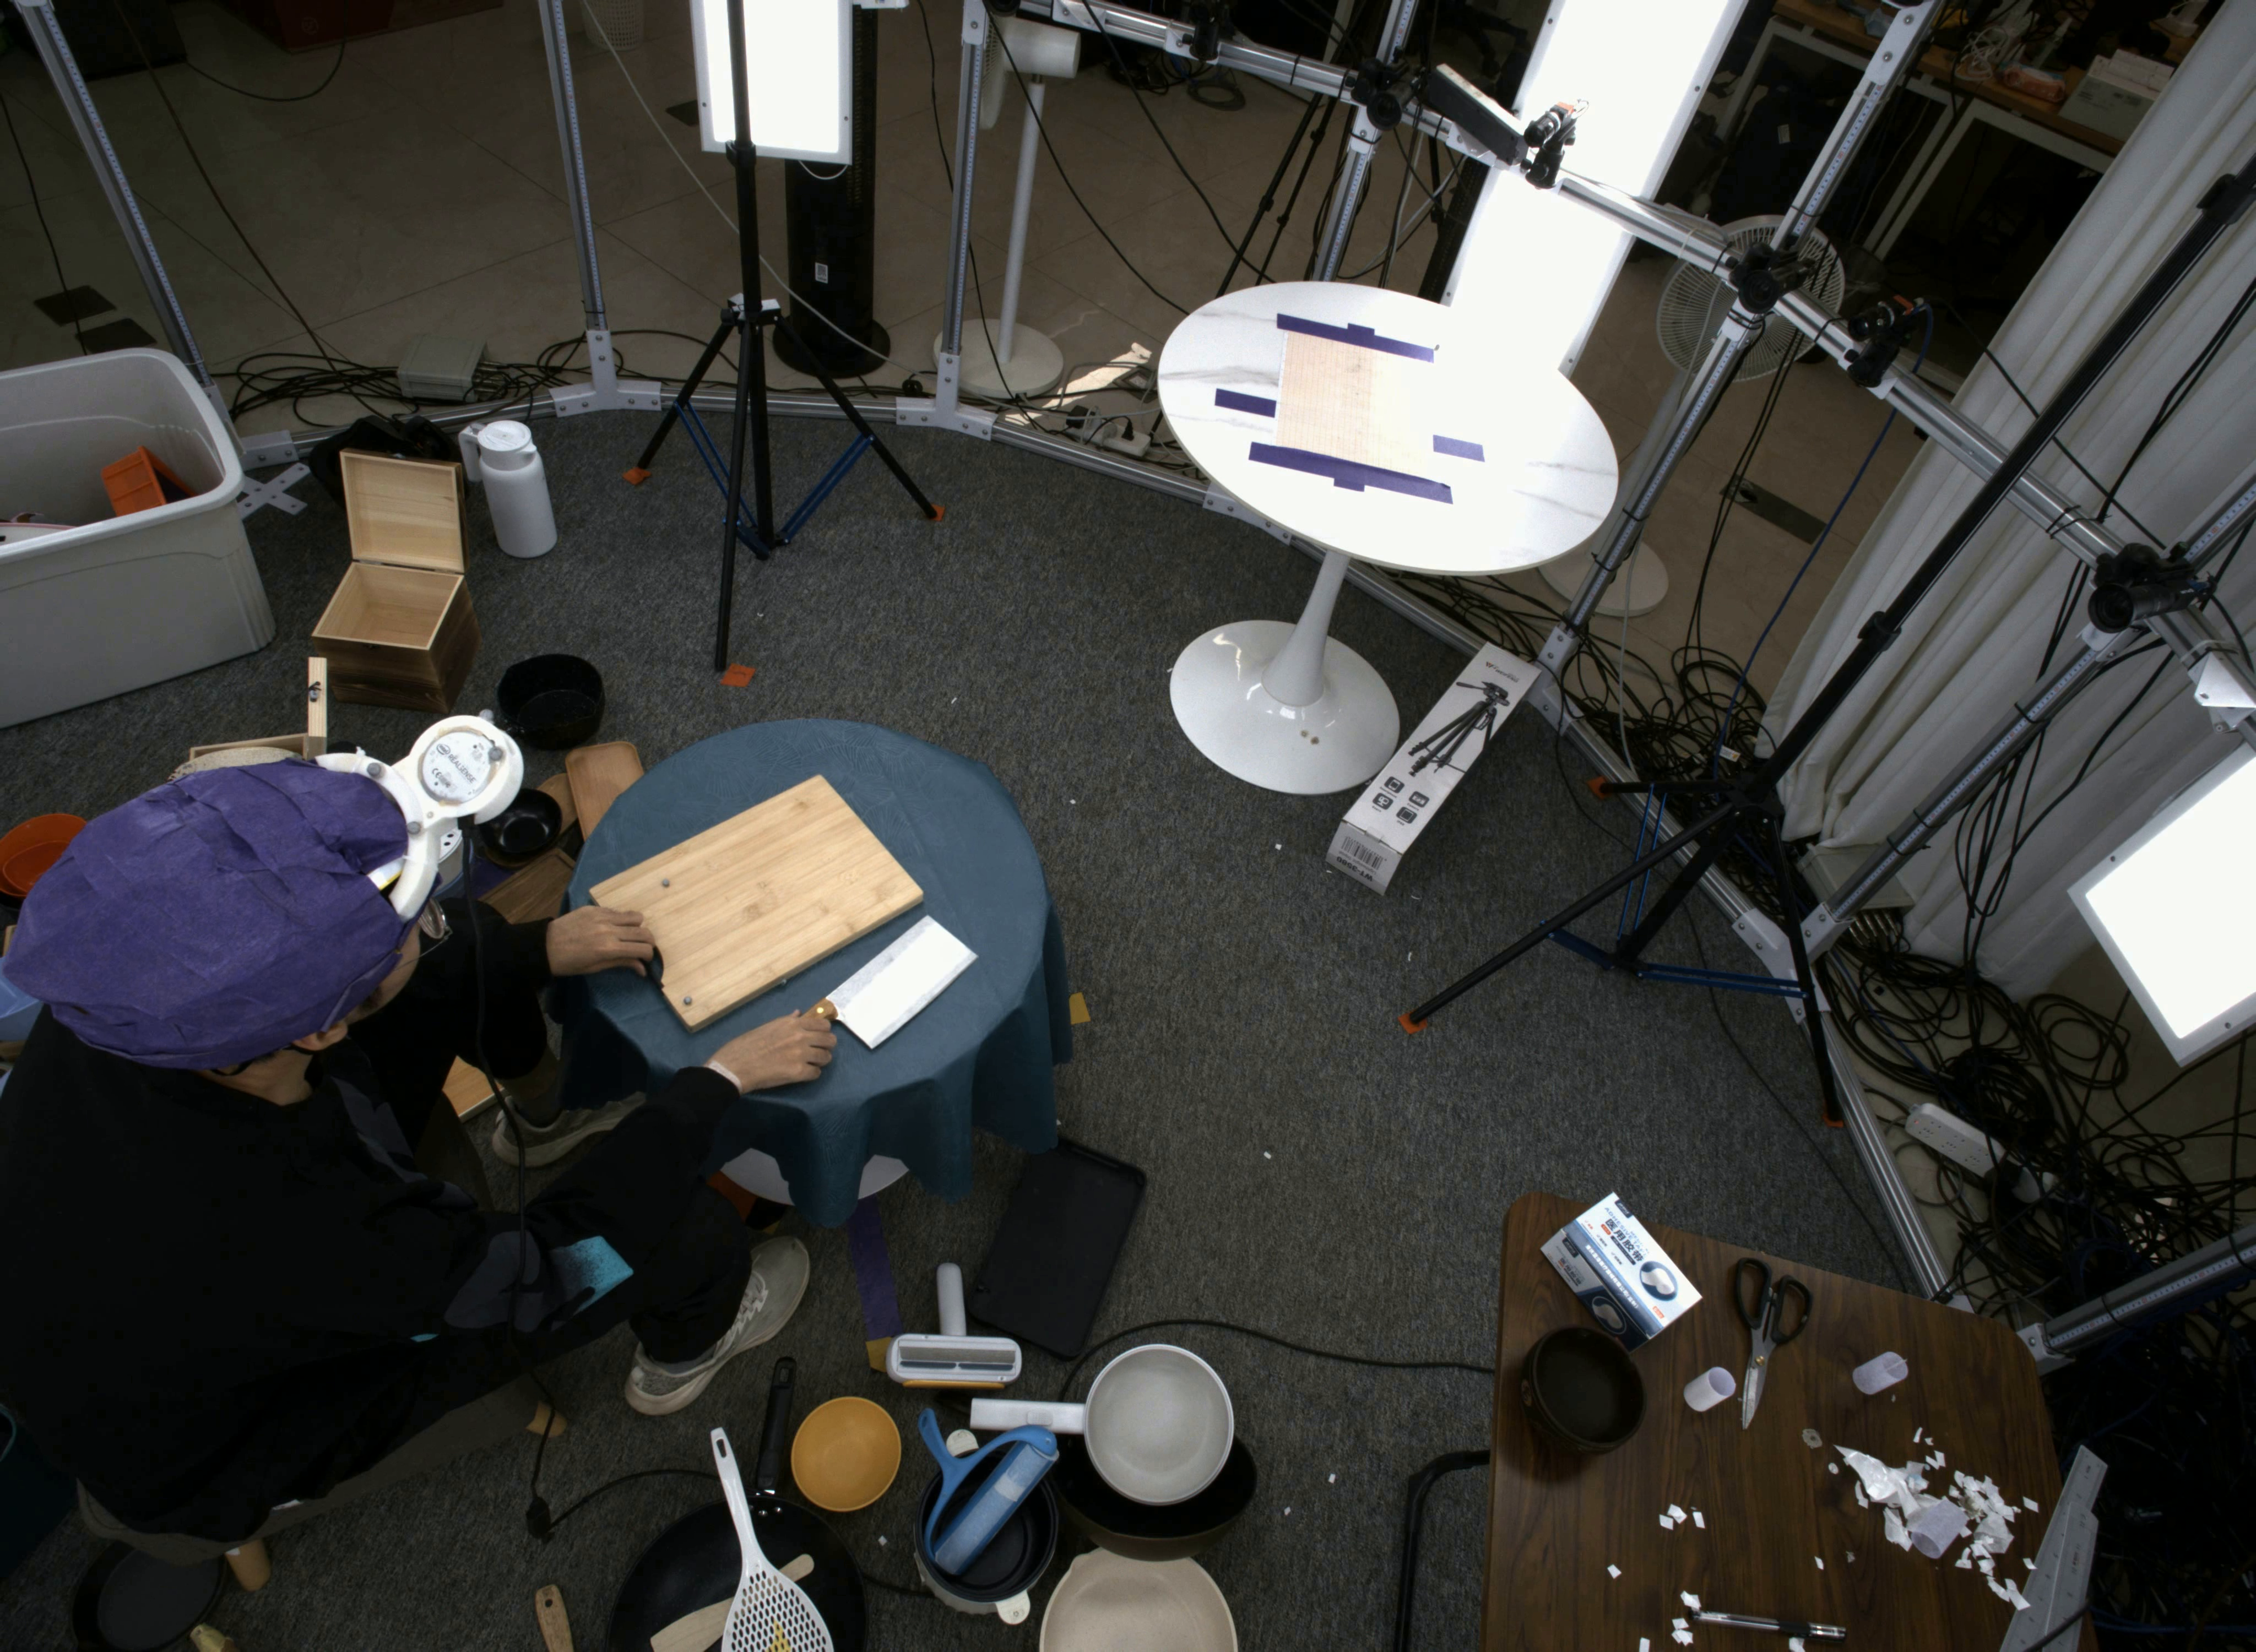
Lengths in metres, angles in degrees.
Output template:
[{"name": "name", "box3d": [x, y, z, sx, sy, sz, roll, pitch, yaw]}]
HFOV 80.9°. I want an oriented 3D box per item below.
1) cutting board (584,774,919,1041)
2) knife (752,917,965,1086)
[{"name": "cutting board", "box3d": [-0.469, 0.089, 1.624, 0.350, 0.024, 0.245, -33, 68, -33]}, {"name": "knife", "box3d": [-0.315, 0.218, 1.570, 0.091, 0.021, 0.306, 38, 51, 12]}]
